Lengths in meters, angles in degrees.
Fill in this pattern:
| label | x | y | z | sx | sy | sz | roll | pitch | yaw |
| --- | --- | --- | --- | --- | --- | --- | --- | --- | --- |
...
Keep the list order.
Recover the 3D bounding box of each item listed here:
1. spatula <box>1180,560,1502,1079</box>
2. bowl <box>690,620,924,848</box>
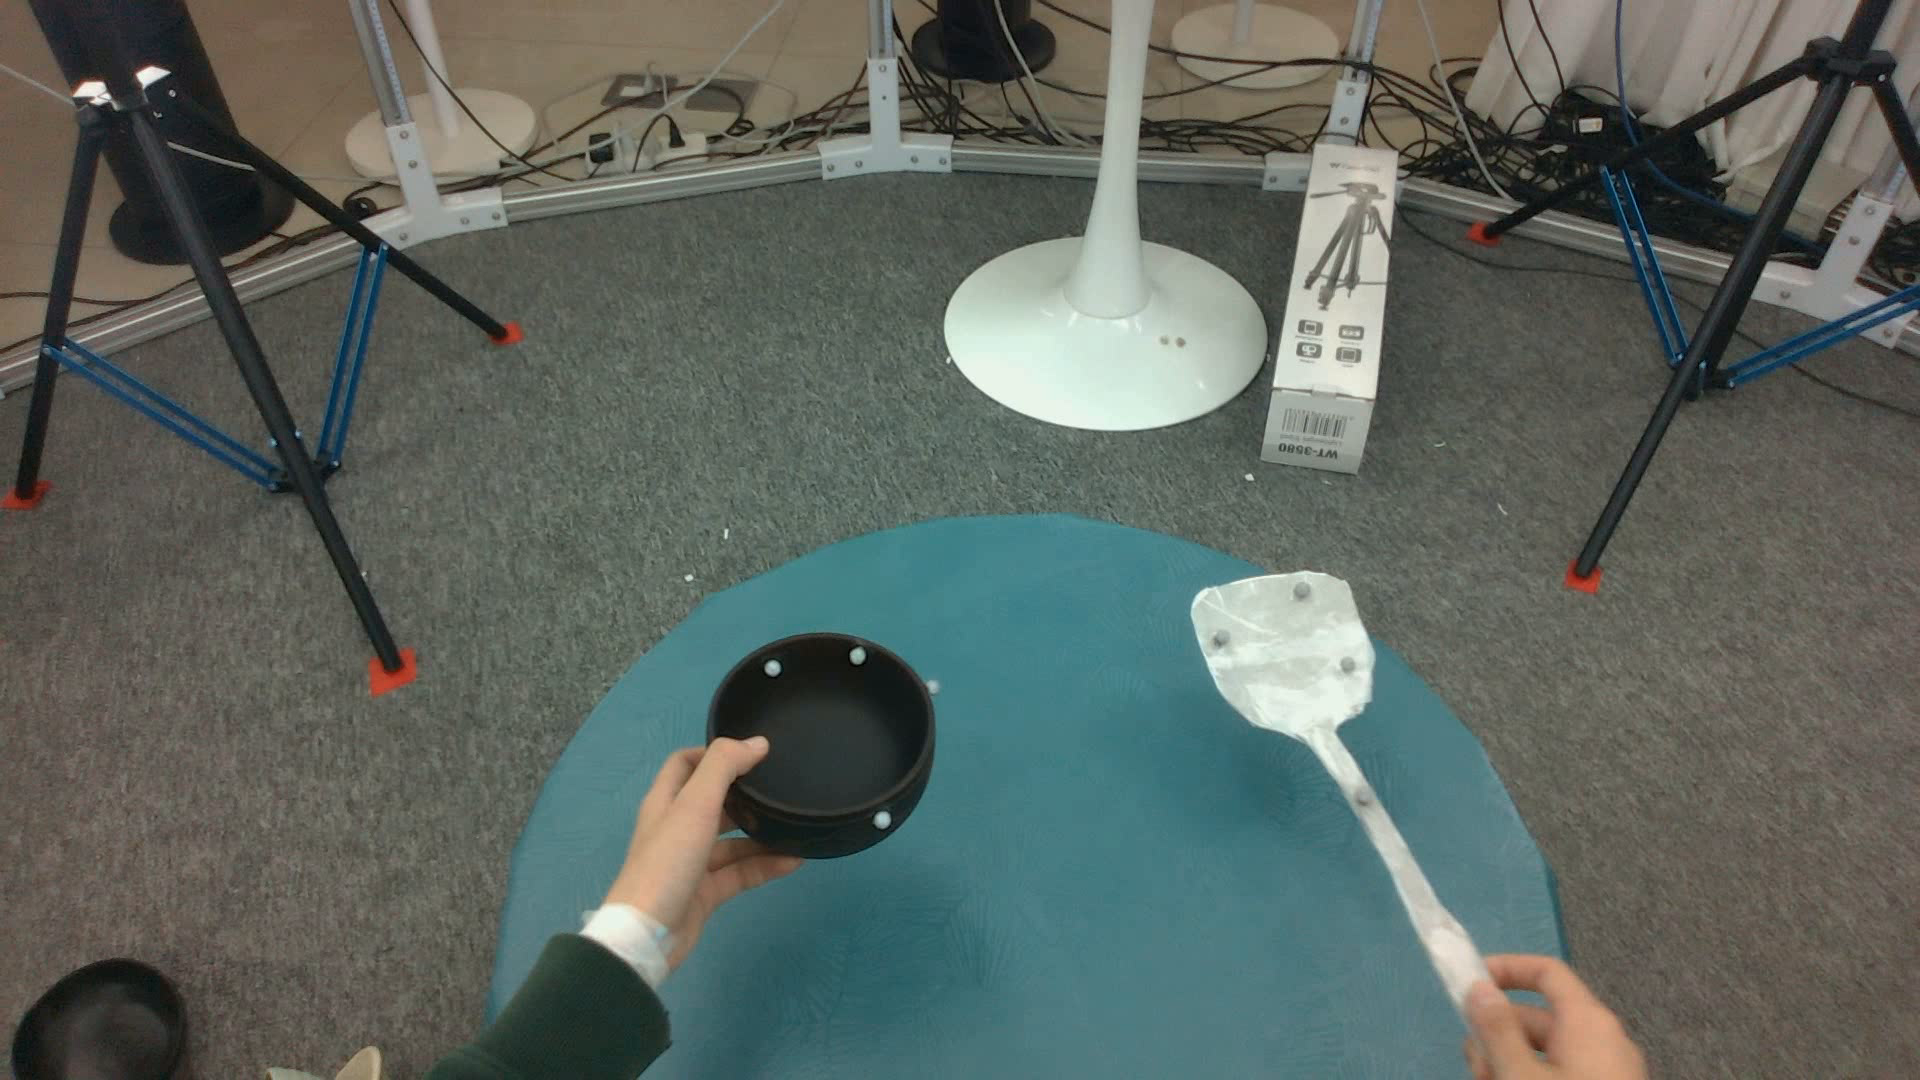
| label | x | y | z | sx | sy | sz | roll | pitch | yaw |
| --- | --- | --- | --- | --- | --- | --- | --- | --- | --- |
| spatula | 0.200 | 0.138 | 0.687 | 0.099 | 0.044 | 0.366 | -6 | 37 | -6 |
| bowl | -0.078 | 0.106 | 0.707 | 0.118 | 0.069 | 0.118 | 3 | 45 | -3 |
